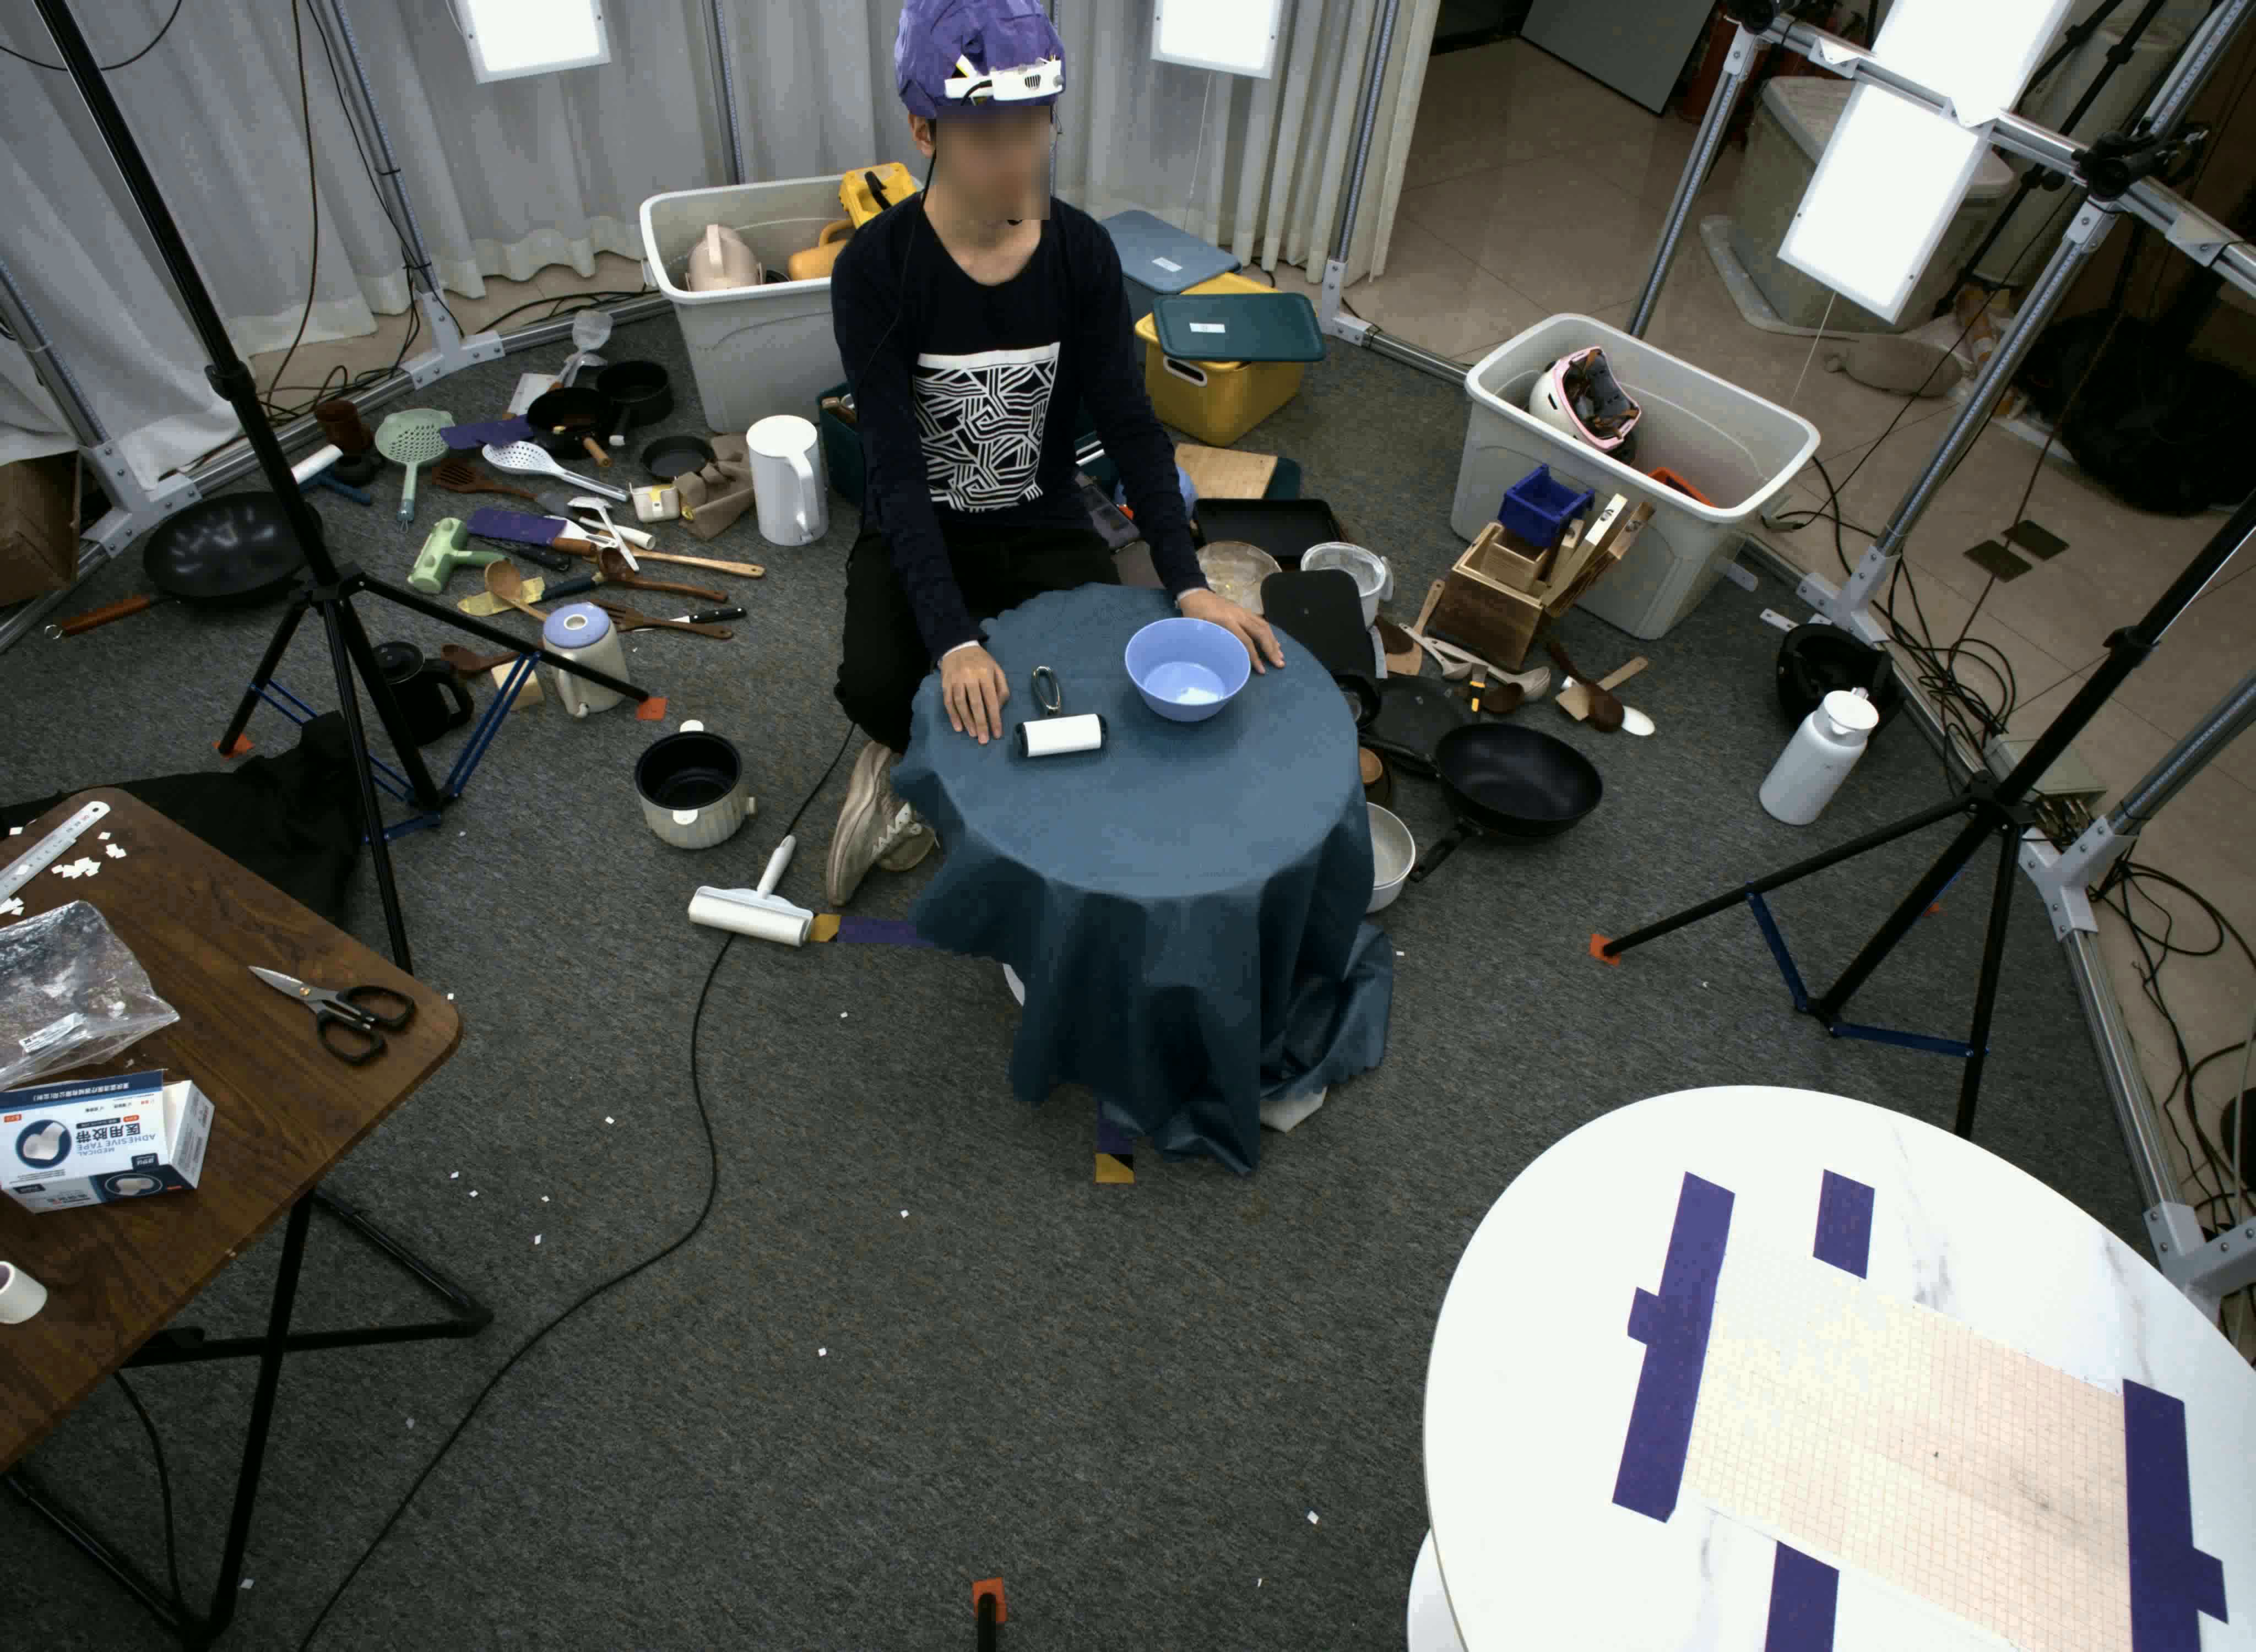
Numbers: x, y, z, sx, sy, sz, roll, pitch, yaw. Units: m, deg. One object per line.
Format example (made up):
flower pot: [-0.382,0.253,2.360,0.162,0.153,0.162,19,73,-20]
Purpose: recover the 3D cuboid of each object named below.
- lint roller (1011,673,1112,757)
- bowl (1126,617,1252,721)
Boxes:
lint roller: [-0.106,-0.171,1.783,0.134,0.047,0.184,-8,46,-11]
bowl: [0.083,-0.212,1.810,0.176,0.068,0.180,2,49,-2]
